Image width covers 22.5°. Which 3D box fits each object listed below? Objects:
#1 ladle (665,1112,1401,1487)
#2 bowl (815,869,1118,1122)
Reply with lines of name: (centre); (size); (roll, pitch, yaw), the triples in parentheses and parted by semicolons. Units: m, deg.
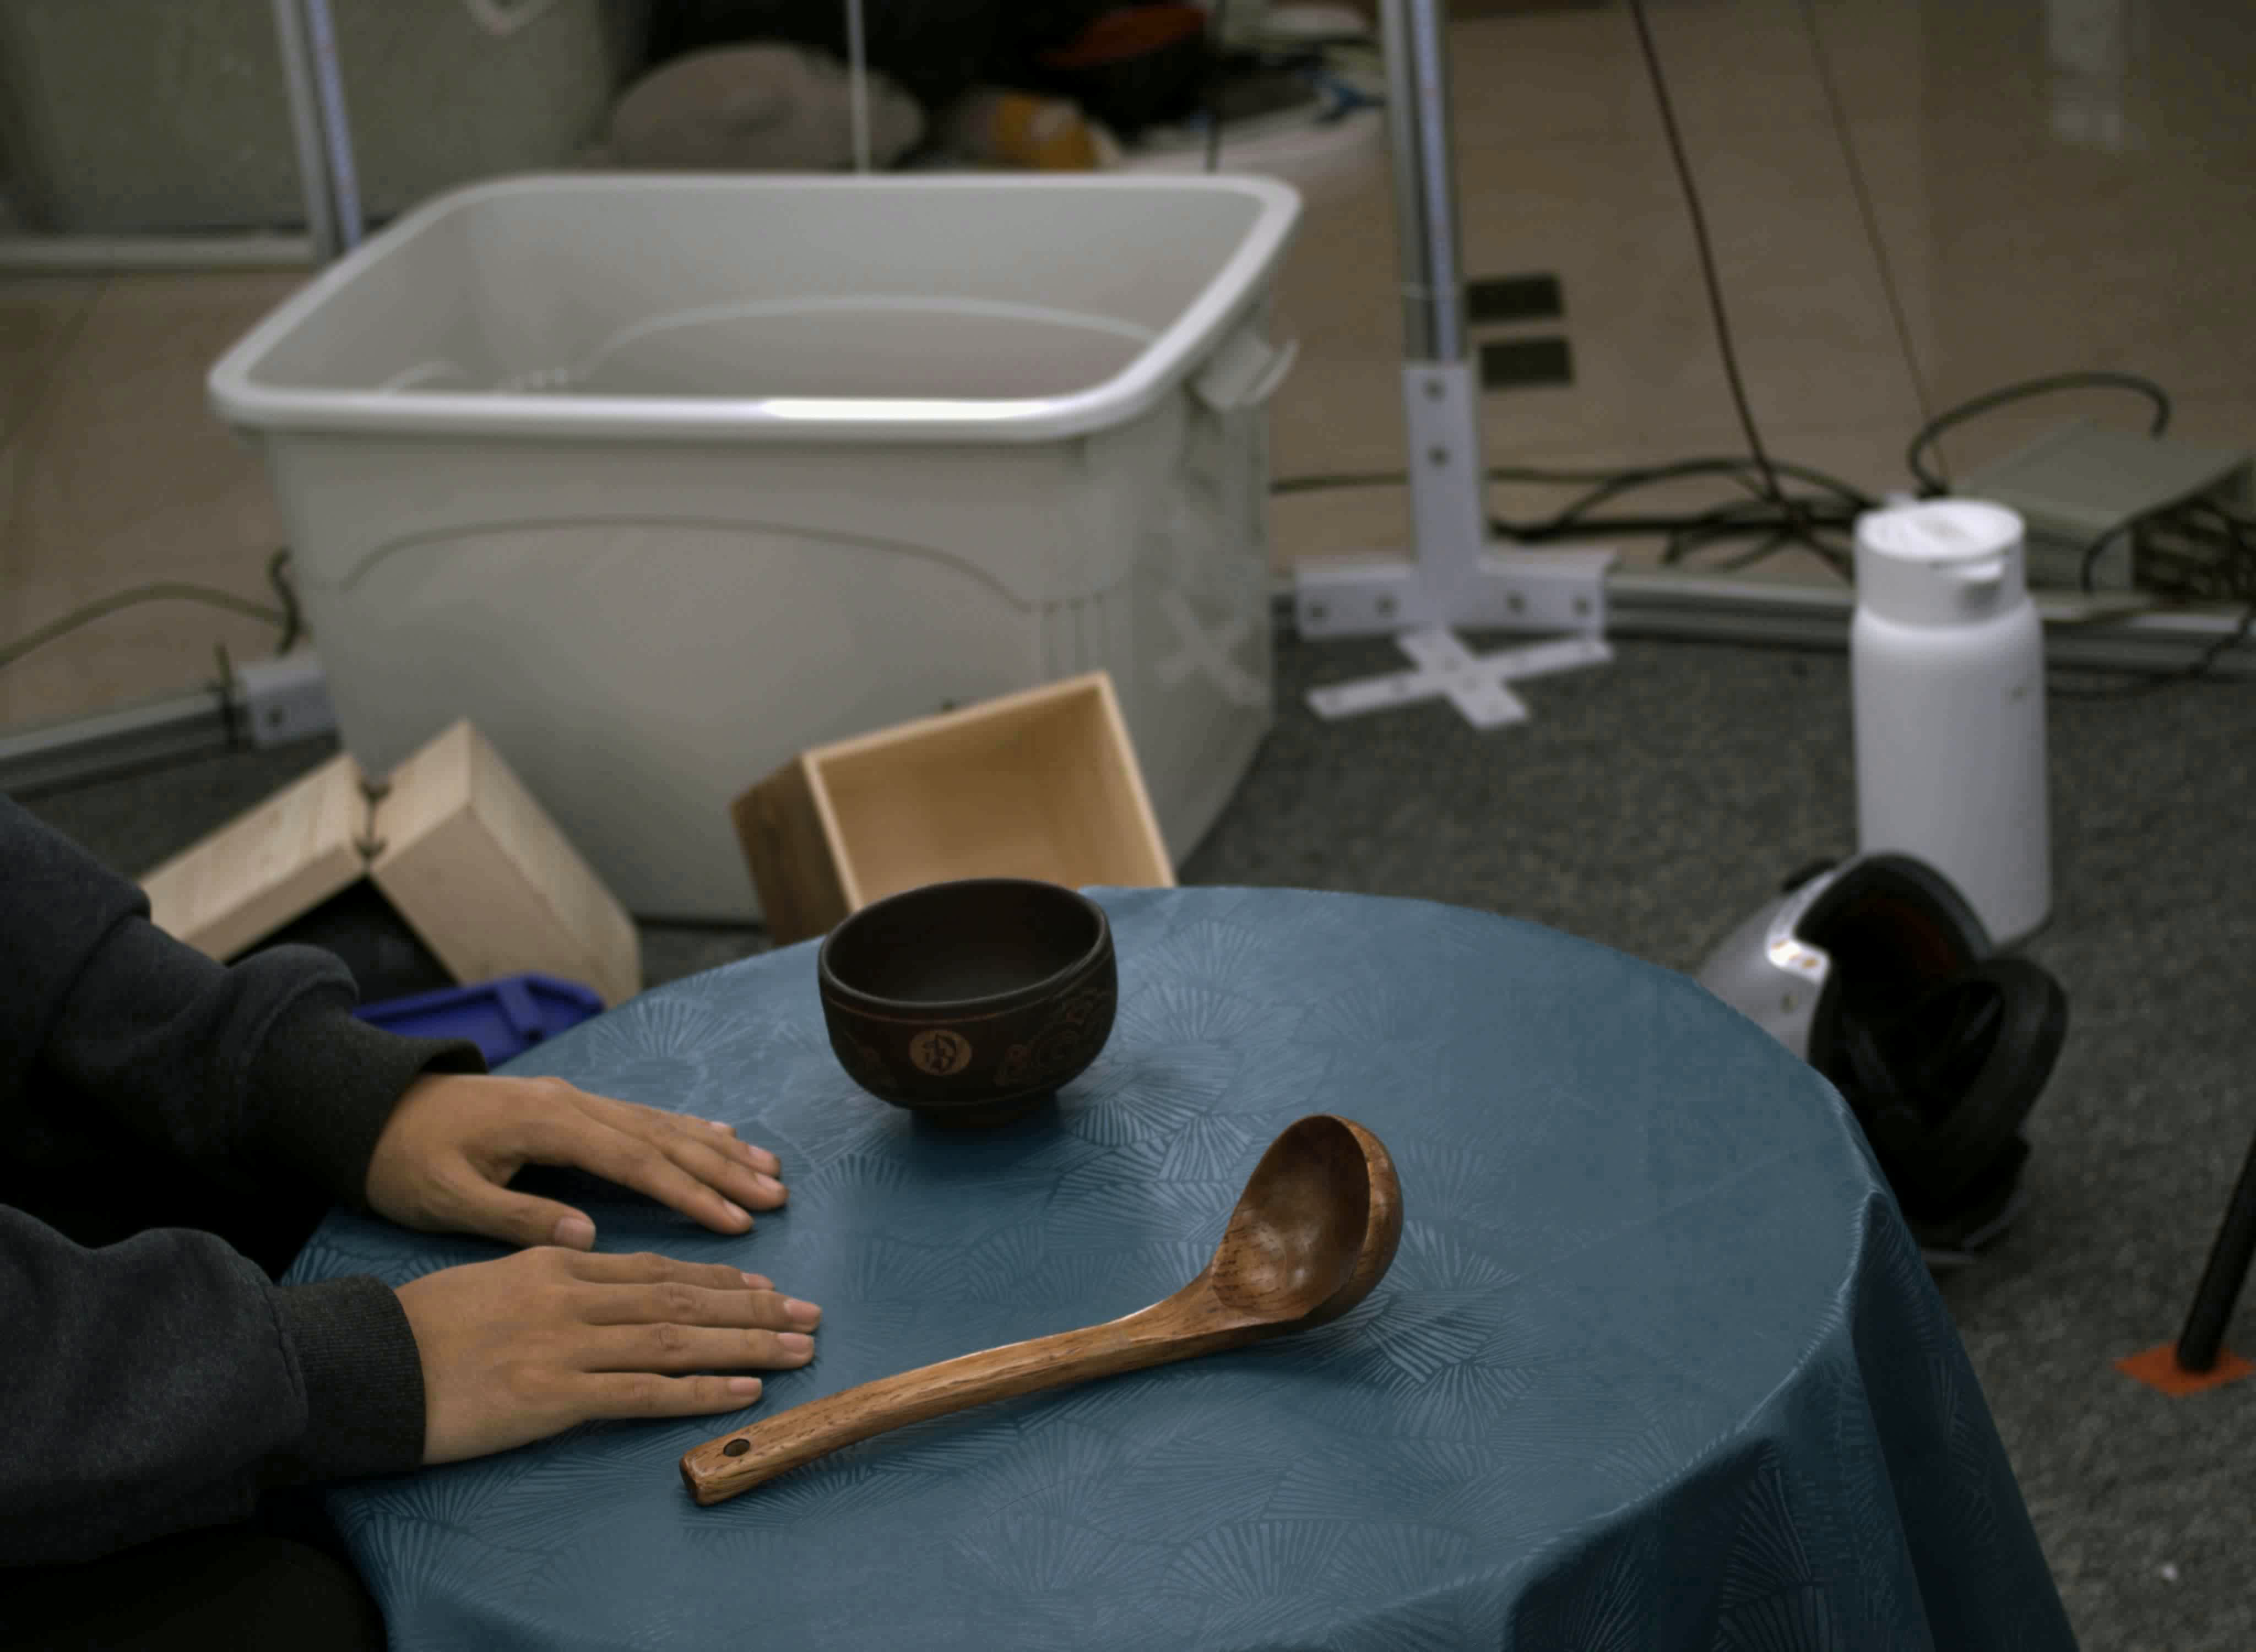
ladle: (-0.033, 0.167, 2.000); (0.273, 0.078, 0.081); (-13, 31, -15)
bowl: (-0.061, 0.073, 2.216); (0.118, 0.071, 0.116); (-5, 26, 3)
